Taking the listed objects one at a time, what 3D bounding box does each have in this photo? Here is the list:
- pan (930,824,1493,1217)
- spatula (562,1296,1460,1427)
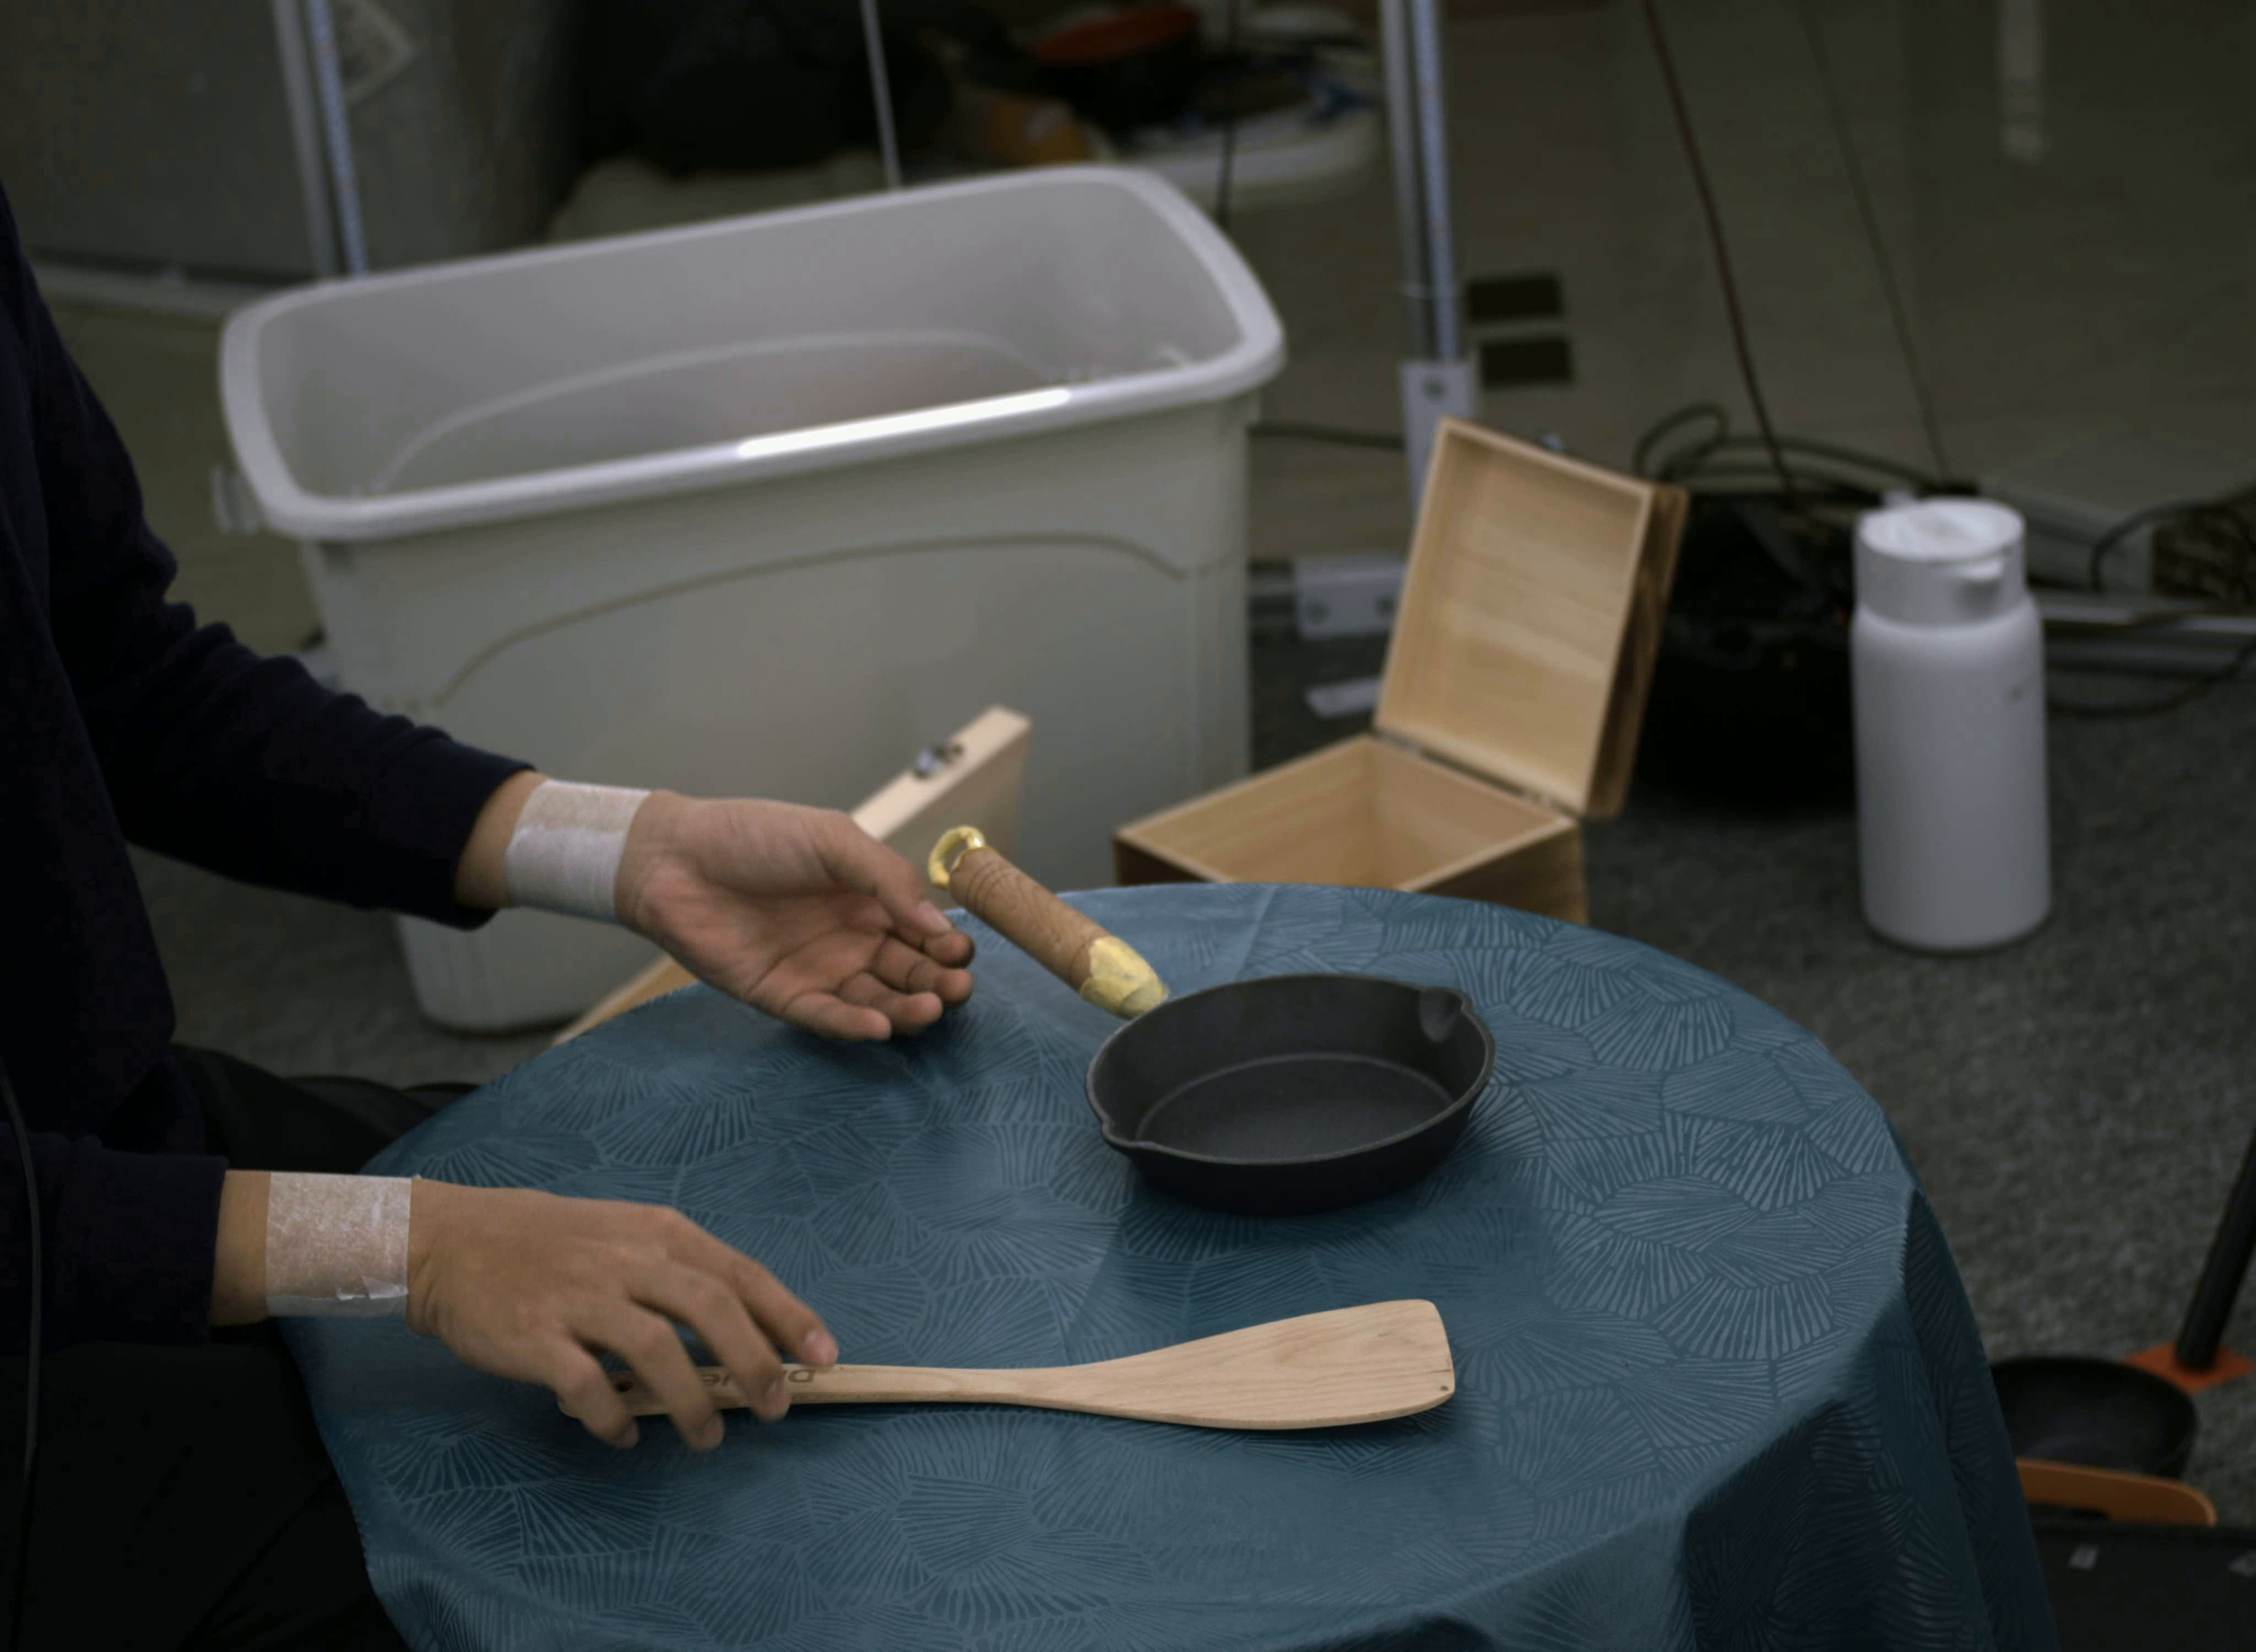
[{"bbox_3d":[0.016,0.072,2.226,0.168,0.050,0.320,-21,30,-27],"label":"pan"},{"bbox_3d":[-0.042,0.195,2.019,0.327,0.017,0.079,-3,24,9],"label":"spatula"}]
